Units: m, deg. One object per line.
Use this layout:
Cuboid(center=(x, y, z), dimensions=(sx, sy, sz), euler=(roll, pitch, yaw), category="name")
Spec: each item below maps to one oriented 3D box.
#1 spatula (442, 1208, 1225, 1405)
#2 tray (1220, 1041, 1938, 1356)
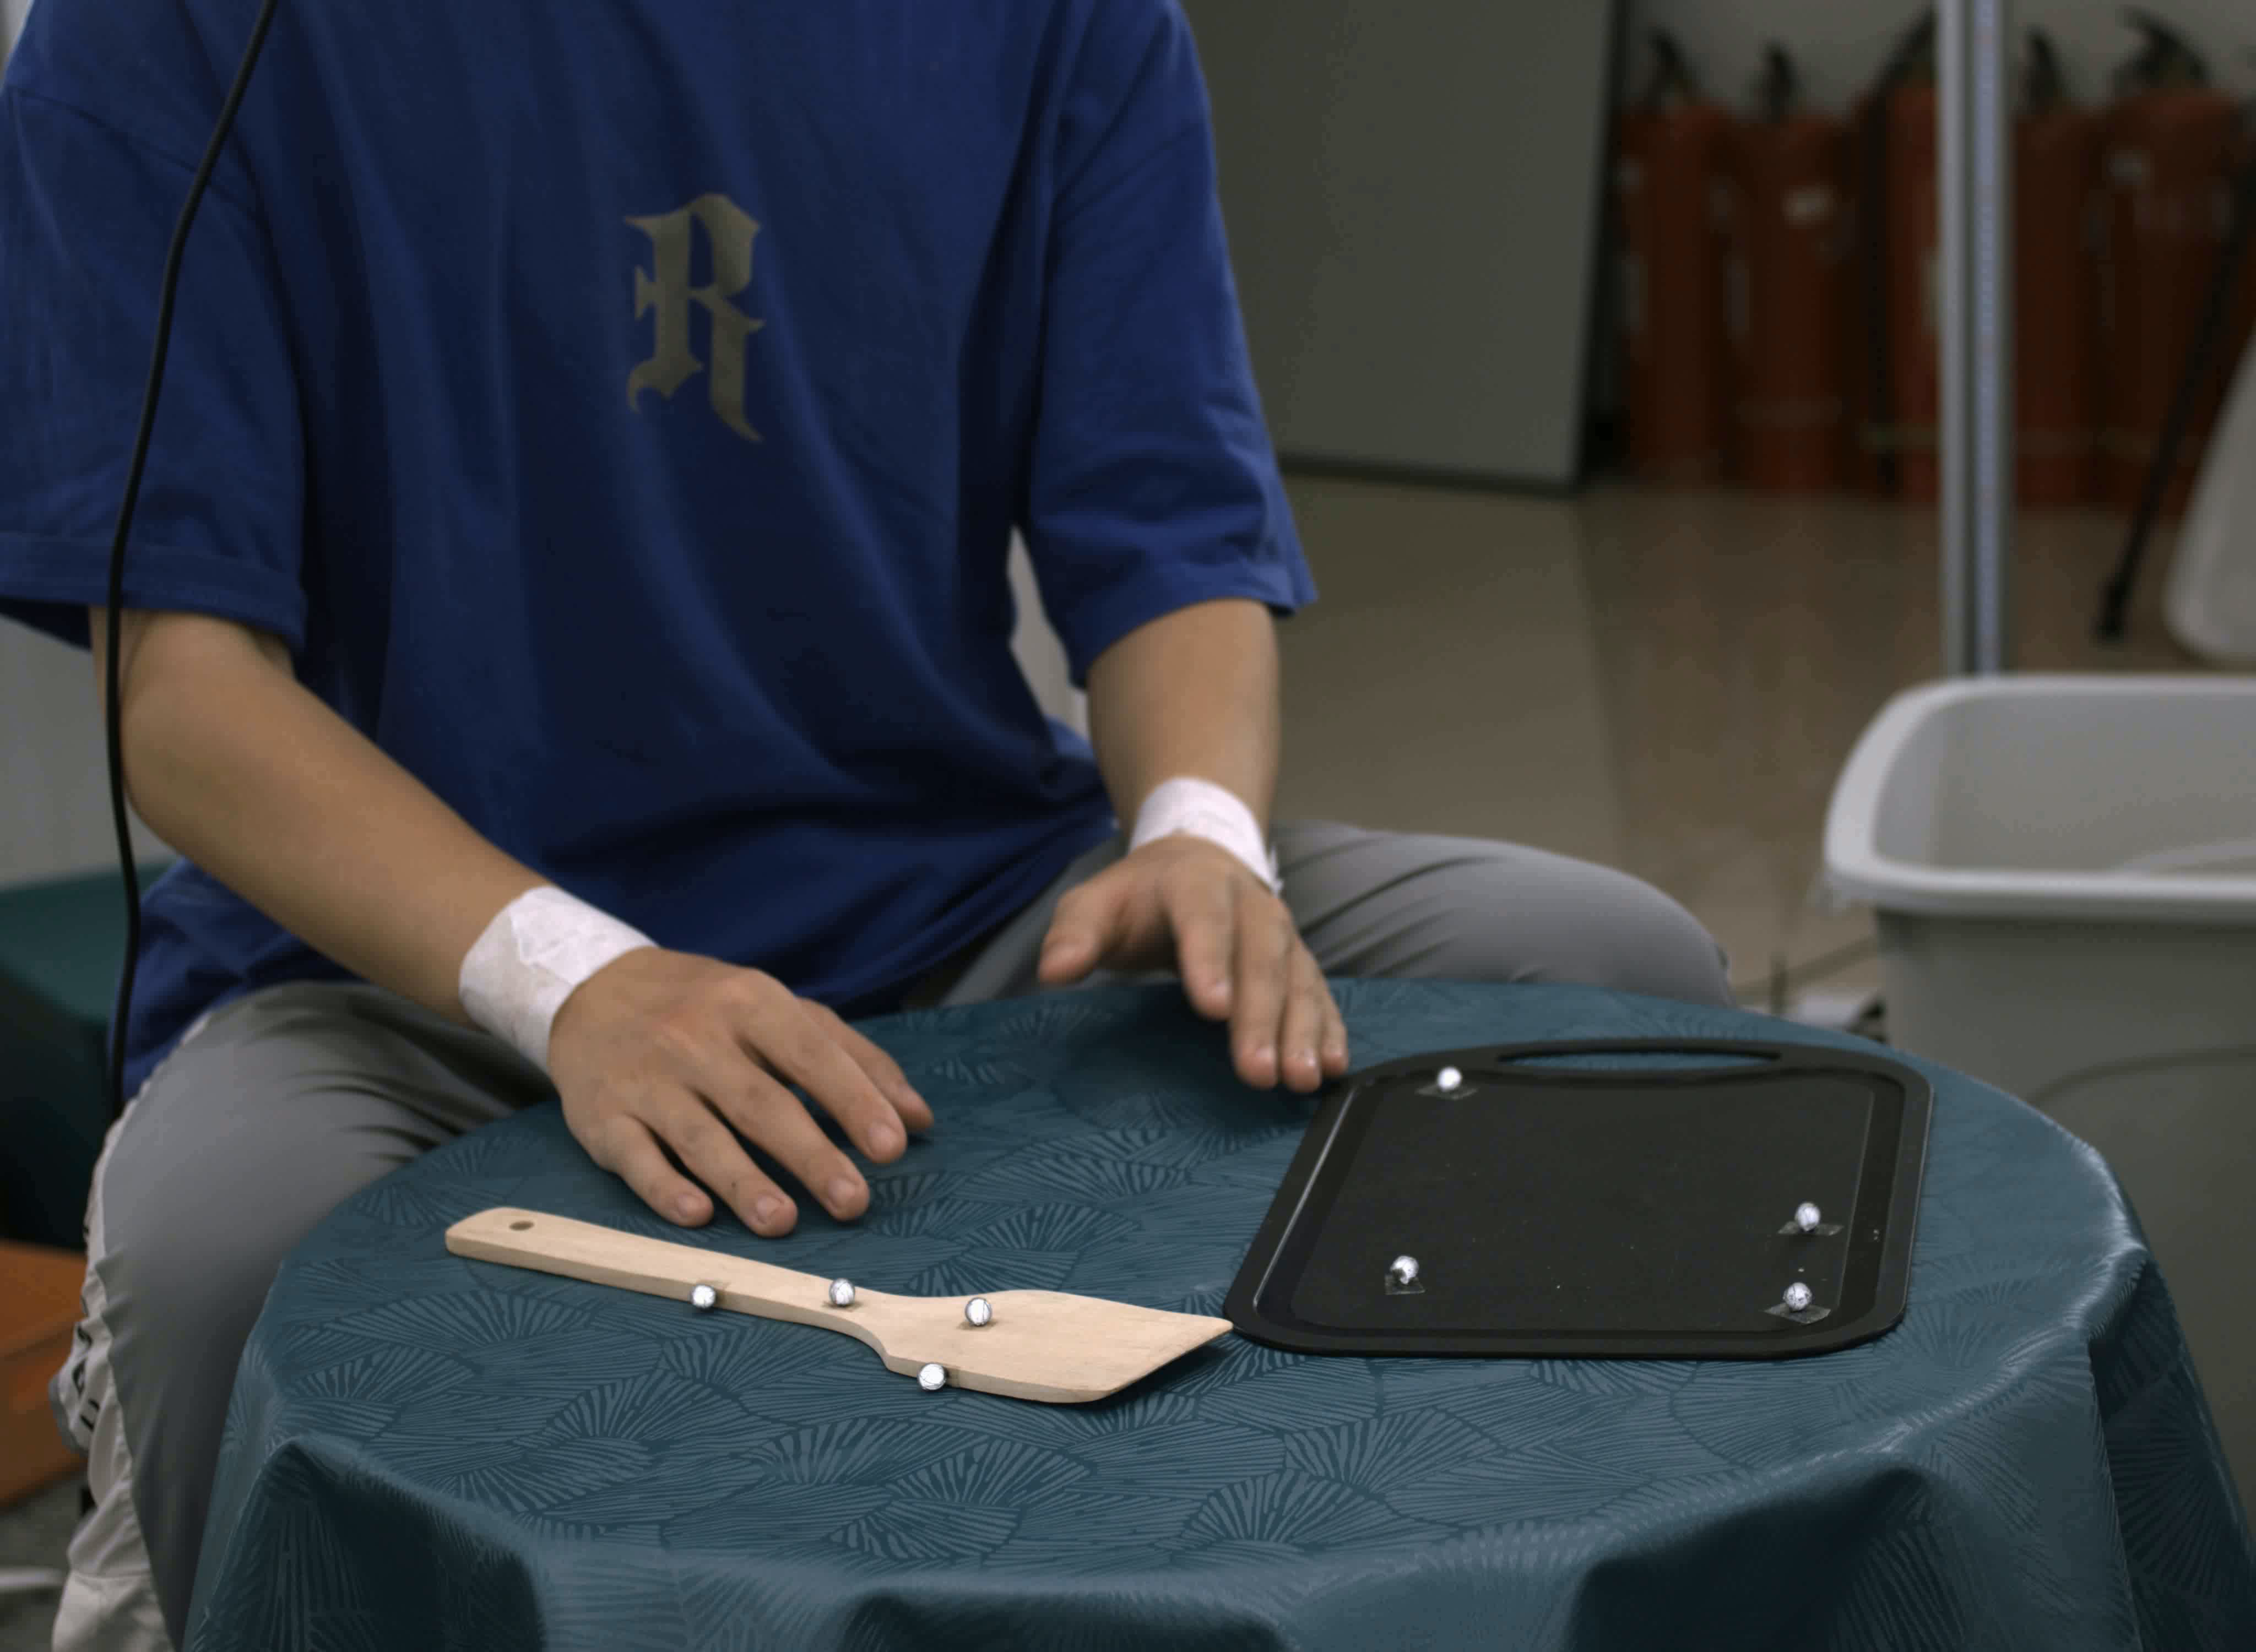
Cuboid(center=(-0.104, 0.146, 1.679), dimensions=(0.295, 0.011, 0.071), euler=(7, 19, 38), category="spatula")
Cuboid(center=(0.152, 0.115, 1.740), dimensions=(0.210, 0.010, 0.323), euler=(-1, 14, 12), category="tray")
